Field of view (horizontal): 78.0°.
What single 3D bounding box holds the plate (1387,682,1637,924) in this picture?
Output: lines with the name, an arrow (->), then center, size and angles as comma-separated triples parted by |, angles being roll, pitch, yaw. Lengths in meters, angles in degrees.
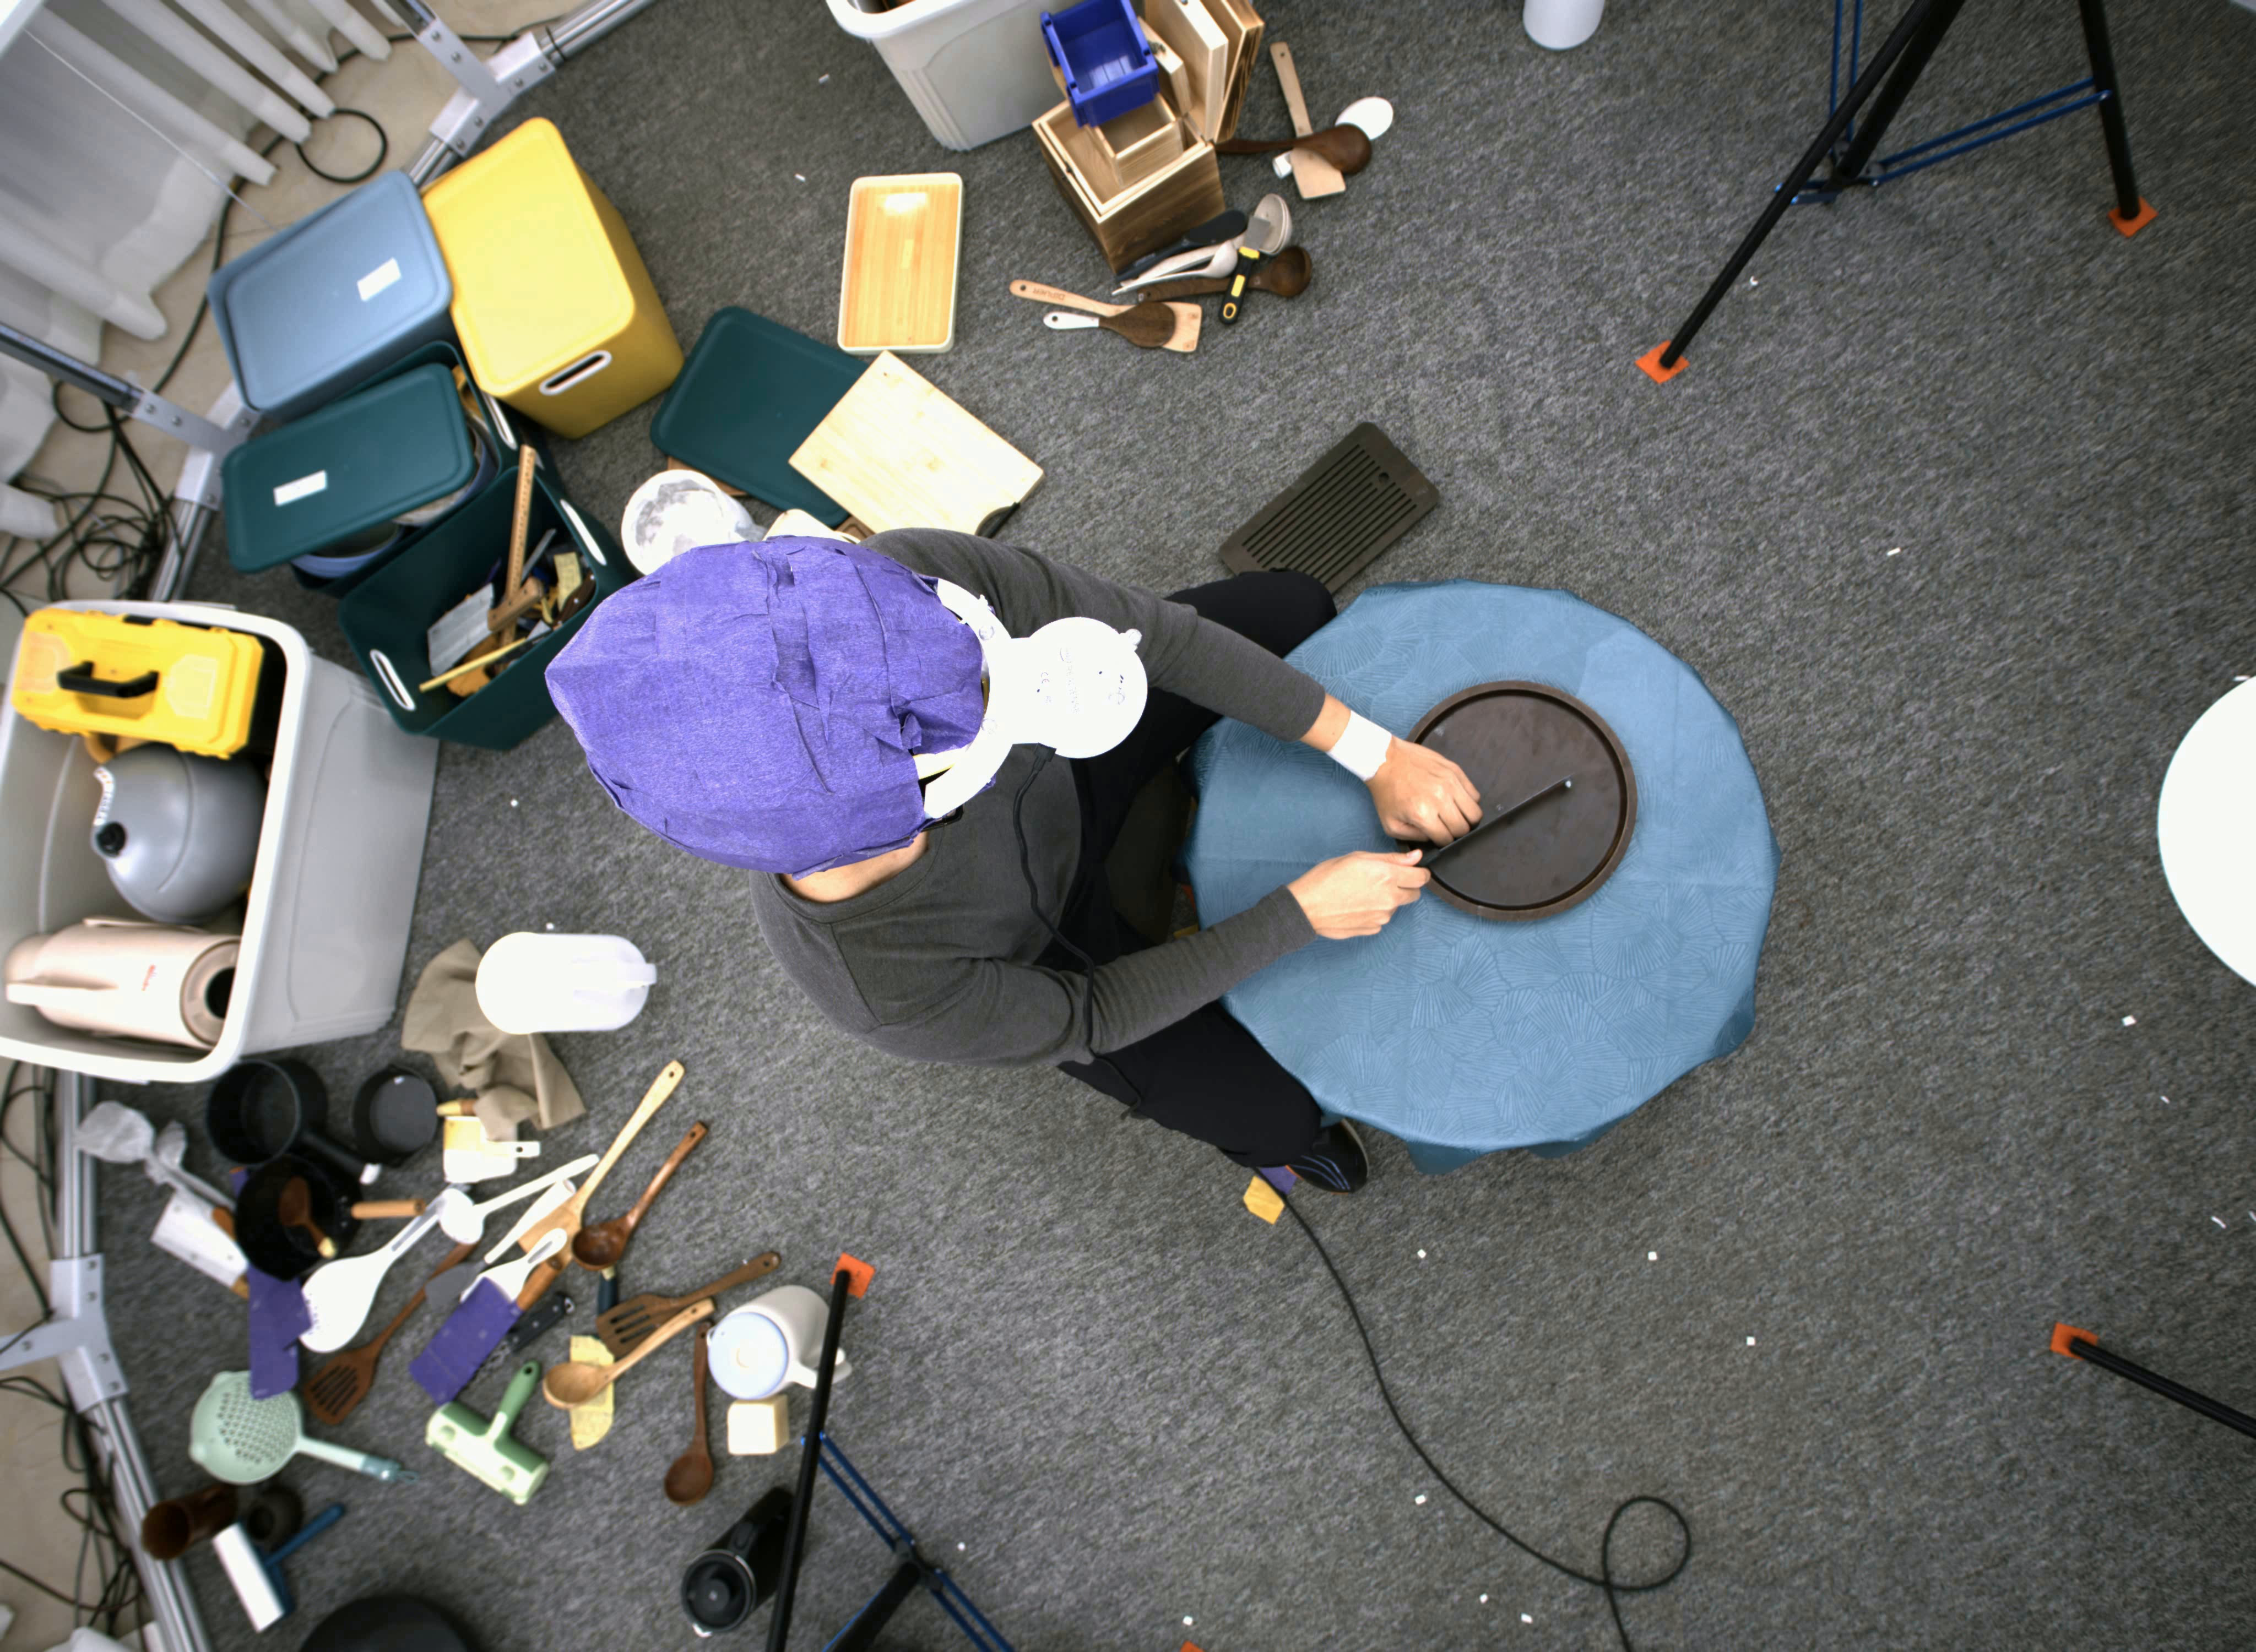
plate -> 0.398, -0.027, 1.430 | 0.256, 0.029, 0.254 | -1, 88, 10

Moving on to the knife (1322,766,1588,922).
knife -> 0.331, 0.015, 1.394 | 0.303, 0.081, 0.021 | -30, 81, 3
